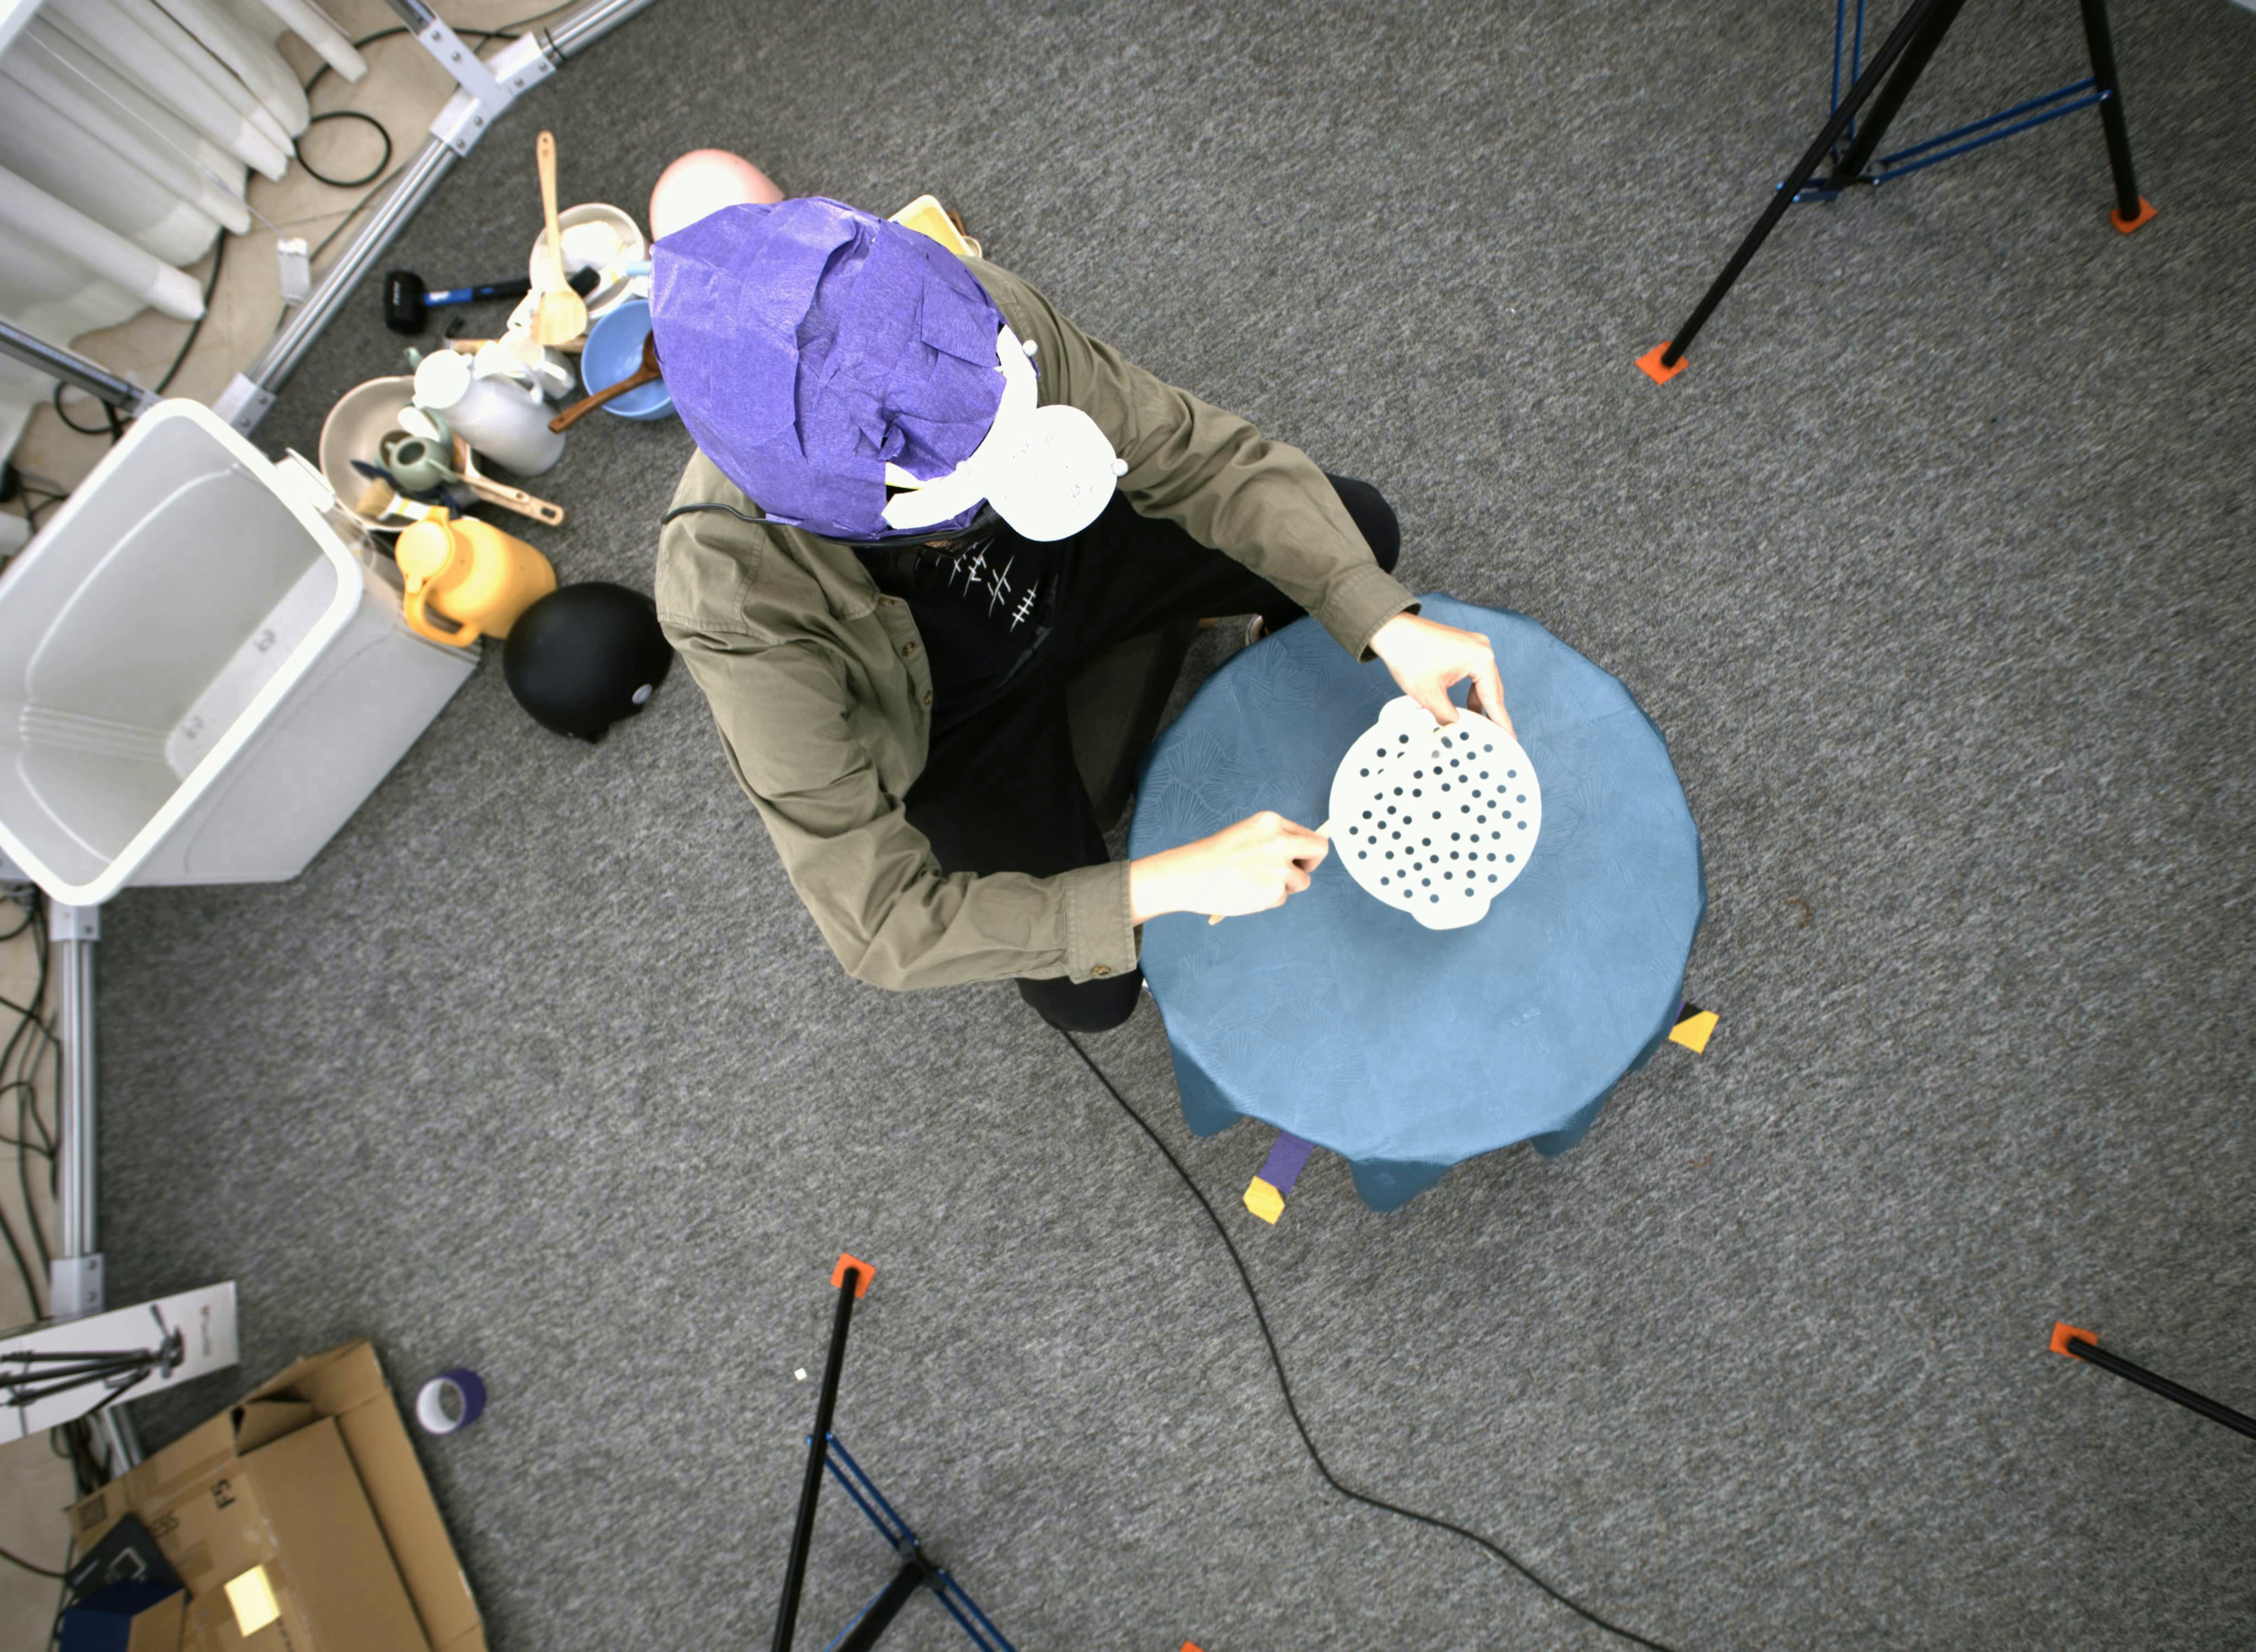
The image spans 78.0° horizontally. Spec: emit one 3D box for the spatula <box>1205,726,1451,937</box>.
[{"bbox_3d":[0.187,0.003,1.261,0.322,0.081,0.016,-39,76,-23],"label":"spatula"}]

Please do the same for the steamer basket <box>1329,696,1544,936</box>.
[{"bbox_3d":[0.300,-0.009,1.338,0.203,0.069,0.229,-11,84,15],"label":"steamer basket"}]
